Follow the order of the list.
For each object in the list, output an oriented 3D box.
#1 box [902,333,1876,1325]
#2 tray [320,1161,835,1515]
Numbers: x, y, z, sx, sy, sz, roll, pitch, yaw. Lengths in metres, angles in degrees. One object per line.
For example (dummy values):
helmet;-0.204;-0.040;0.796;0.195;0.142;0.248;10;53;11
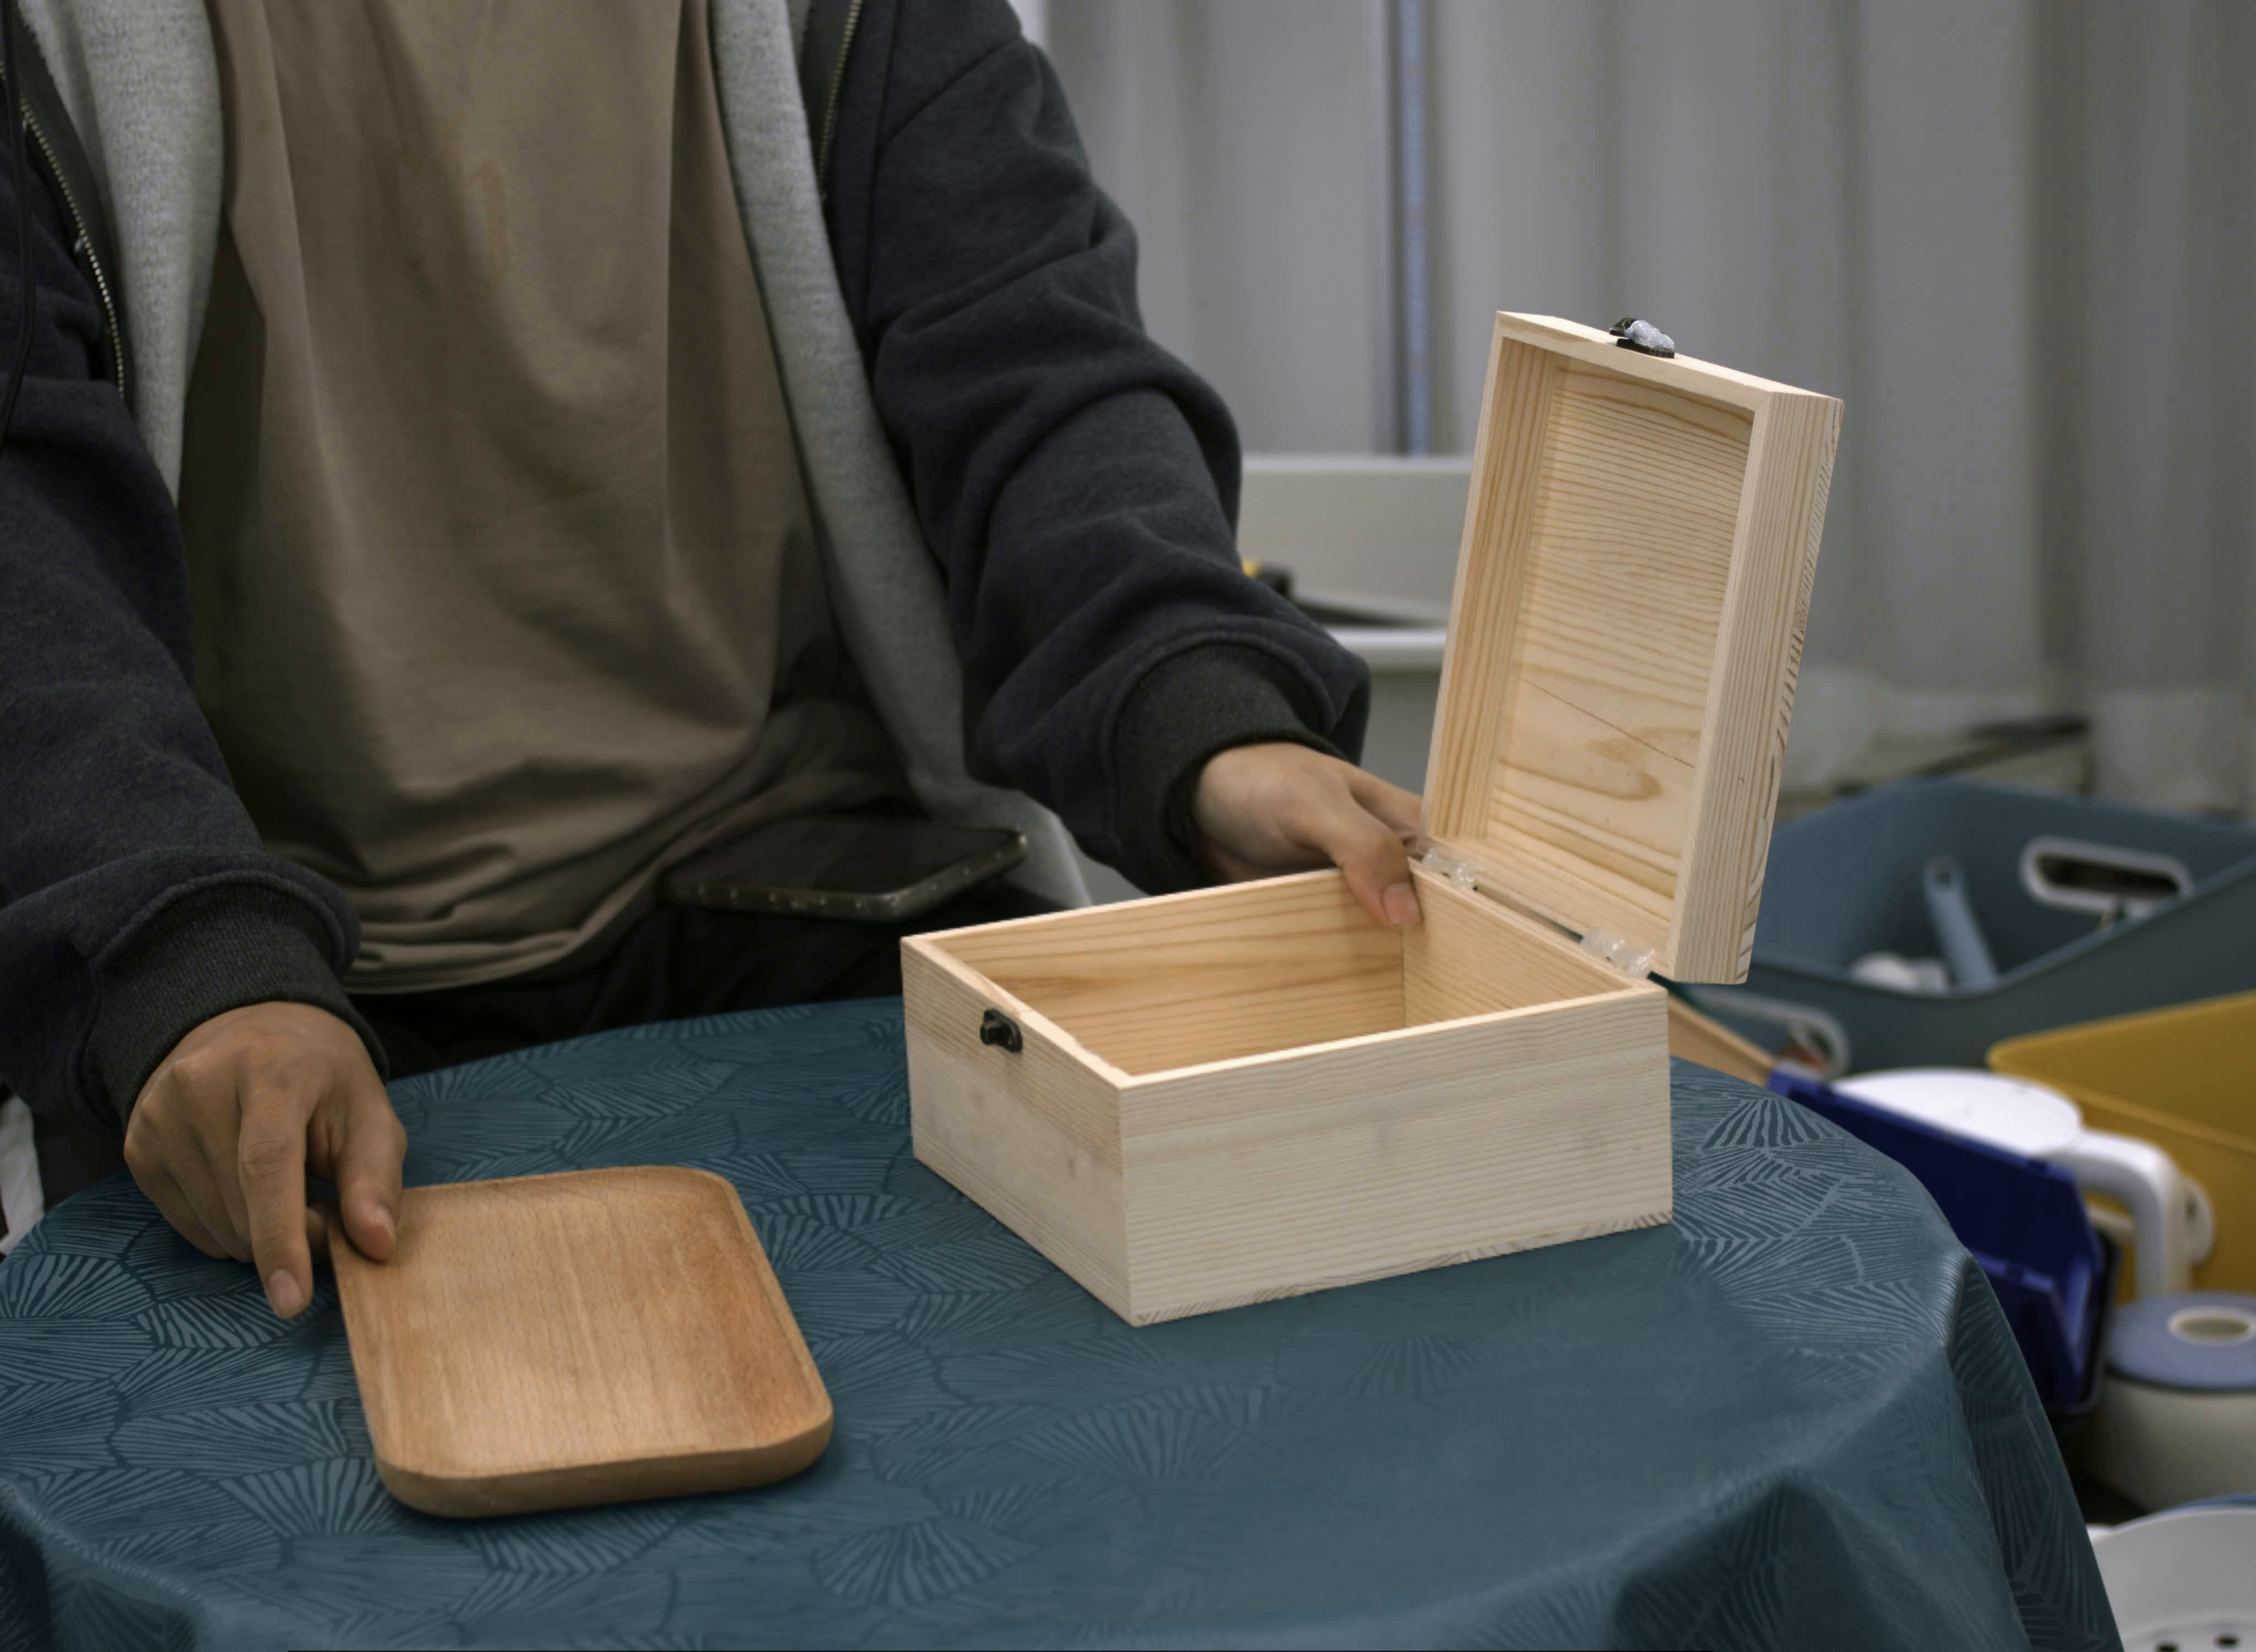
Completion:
box;0.074;-0.009;1.694;0.264;0.252;0.183;-8;12;-22
tray;-0.164;0.146;1.591;0.130;0.023;0.252;-2;14;-11
